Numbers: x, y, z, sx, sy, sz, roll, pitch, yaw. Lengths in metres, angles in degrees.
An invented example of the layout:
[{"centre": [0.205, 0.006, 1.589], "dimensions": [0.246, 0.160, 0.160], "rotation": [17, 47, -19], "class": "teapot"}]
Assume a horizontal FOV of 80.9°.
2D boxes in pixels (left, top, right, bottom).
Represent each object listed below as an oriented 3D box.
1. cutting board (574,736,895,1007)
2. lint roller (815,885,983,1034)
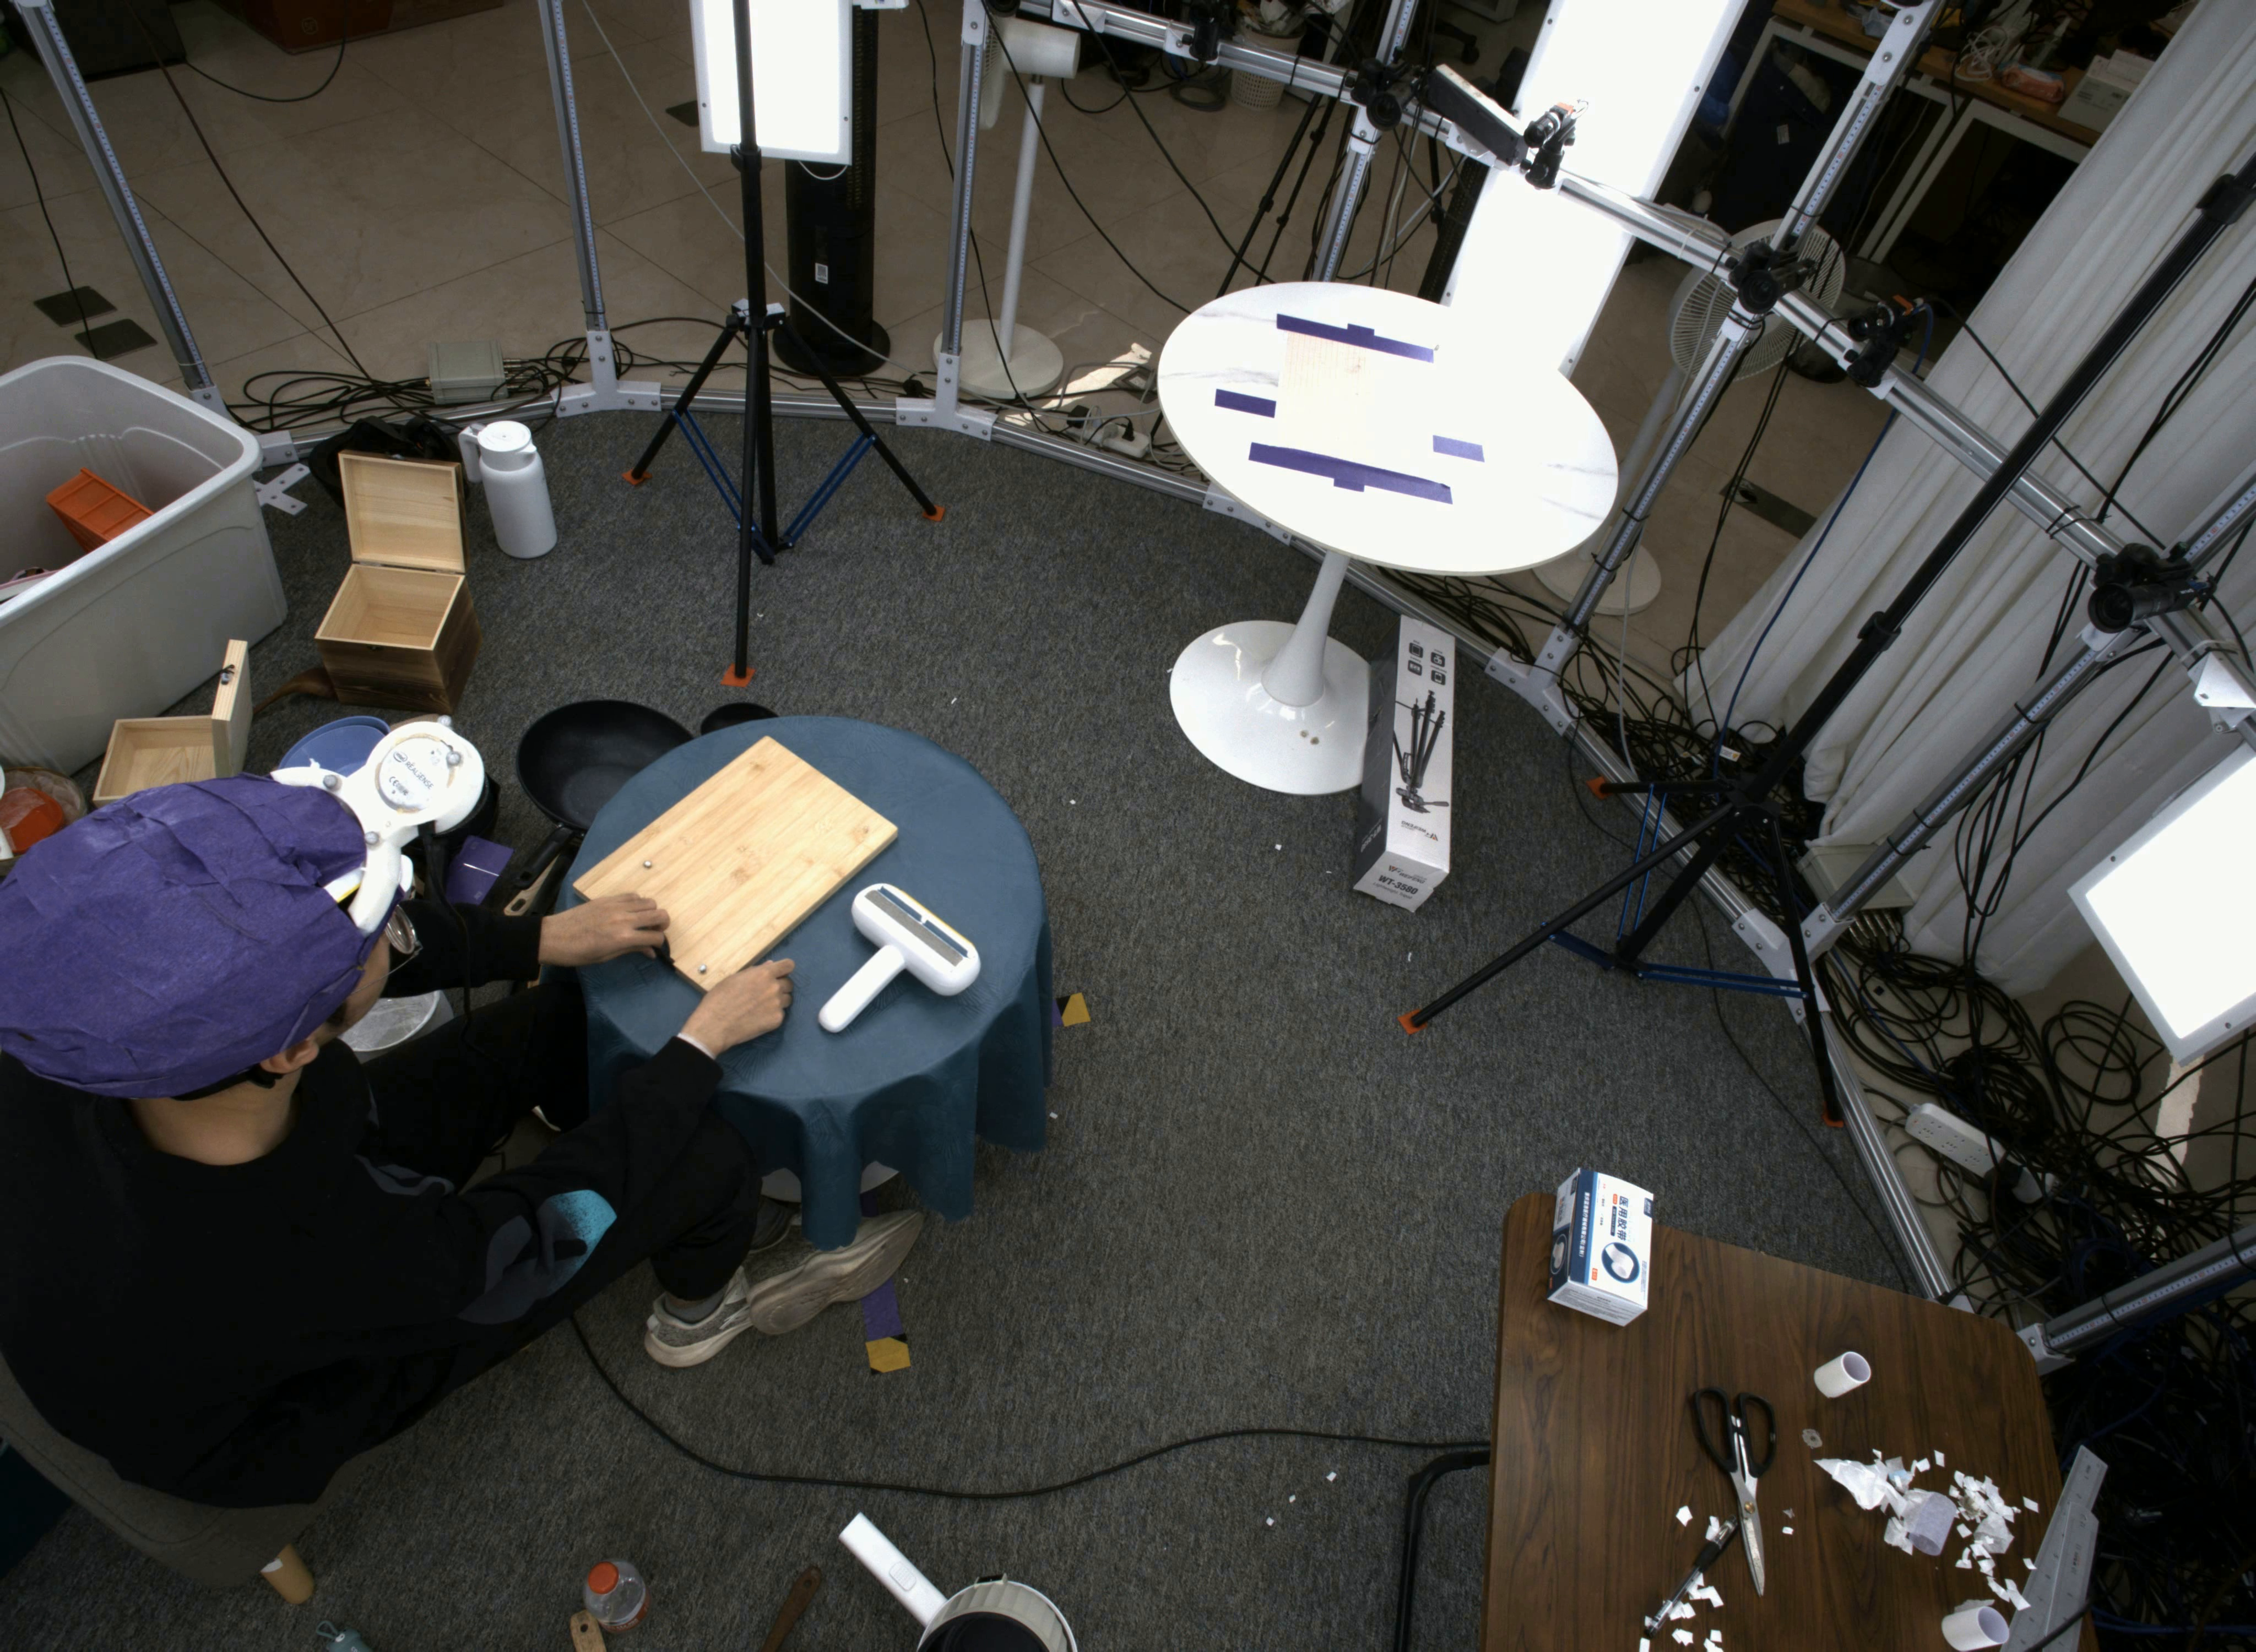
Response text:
[{"centre": [-0.503, 0.046, 1.665], "dimensions": [0.246, 0.024, 0.348], "rotation": [34, 53, 11], "class": "cutting board"}, {"centre": [-0.301, 0.176, 1.590], "dimensions": [0.187, 0.076, 0.193], "rotation": [40, 56, 22], "class": "lint roller"}]
